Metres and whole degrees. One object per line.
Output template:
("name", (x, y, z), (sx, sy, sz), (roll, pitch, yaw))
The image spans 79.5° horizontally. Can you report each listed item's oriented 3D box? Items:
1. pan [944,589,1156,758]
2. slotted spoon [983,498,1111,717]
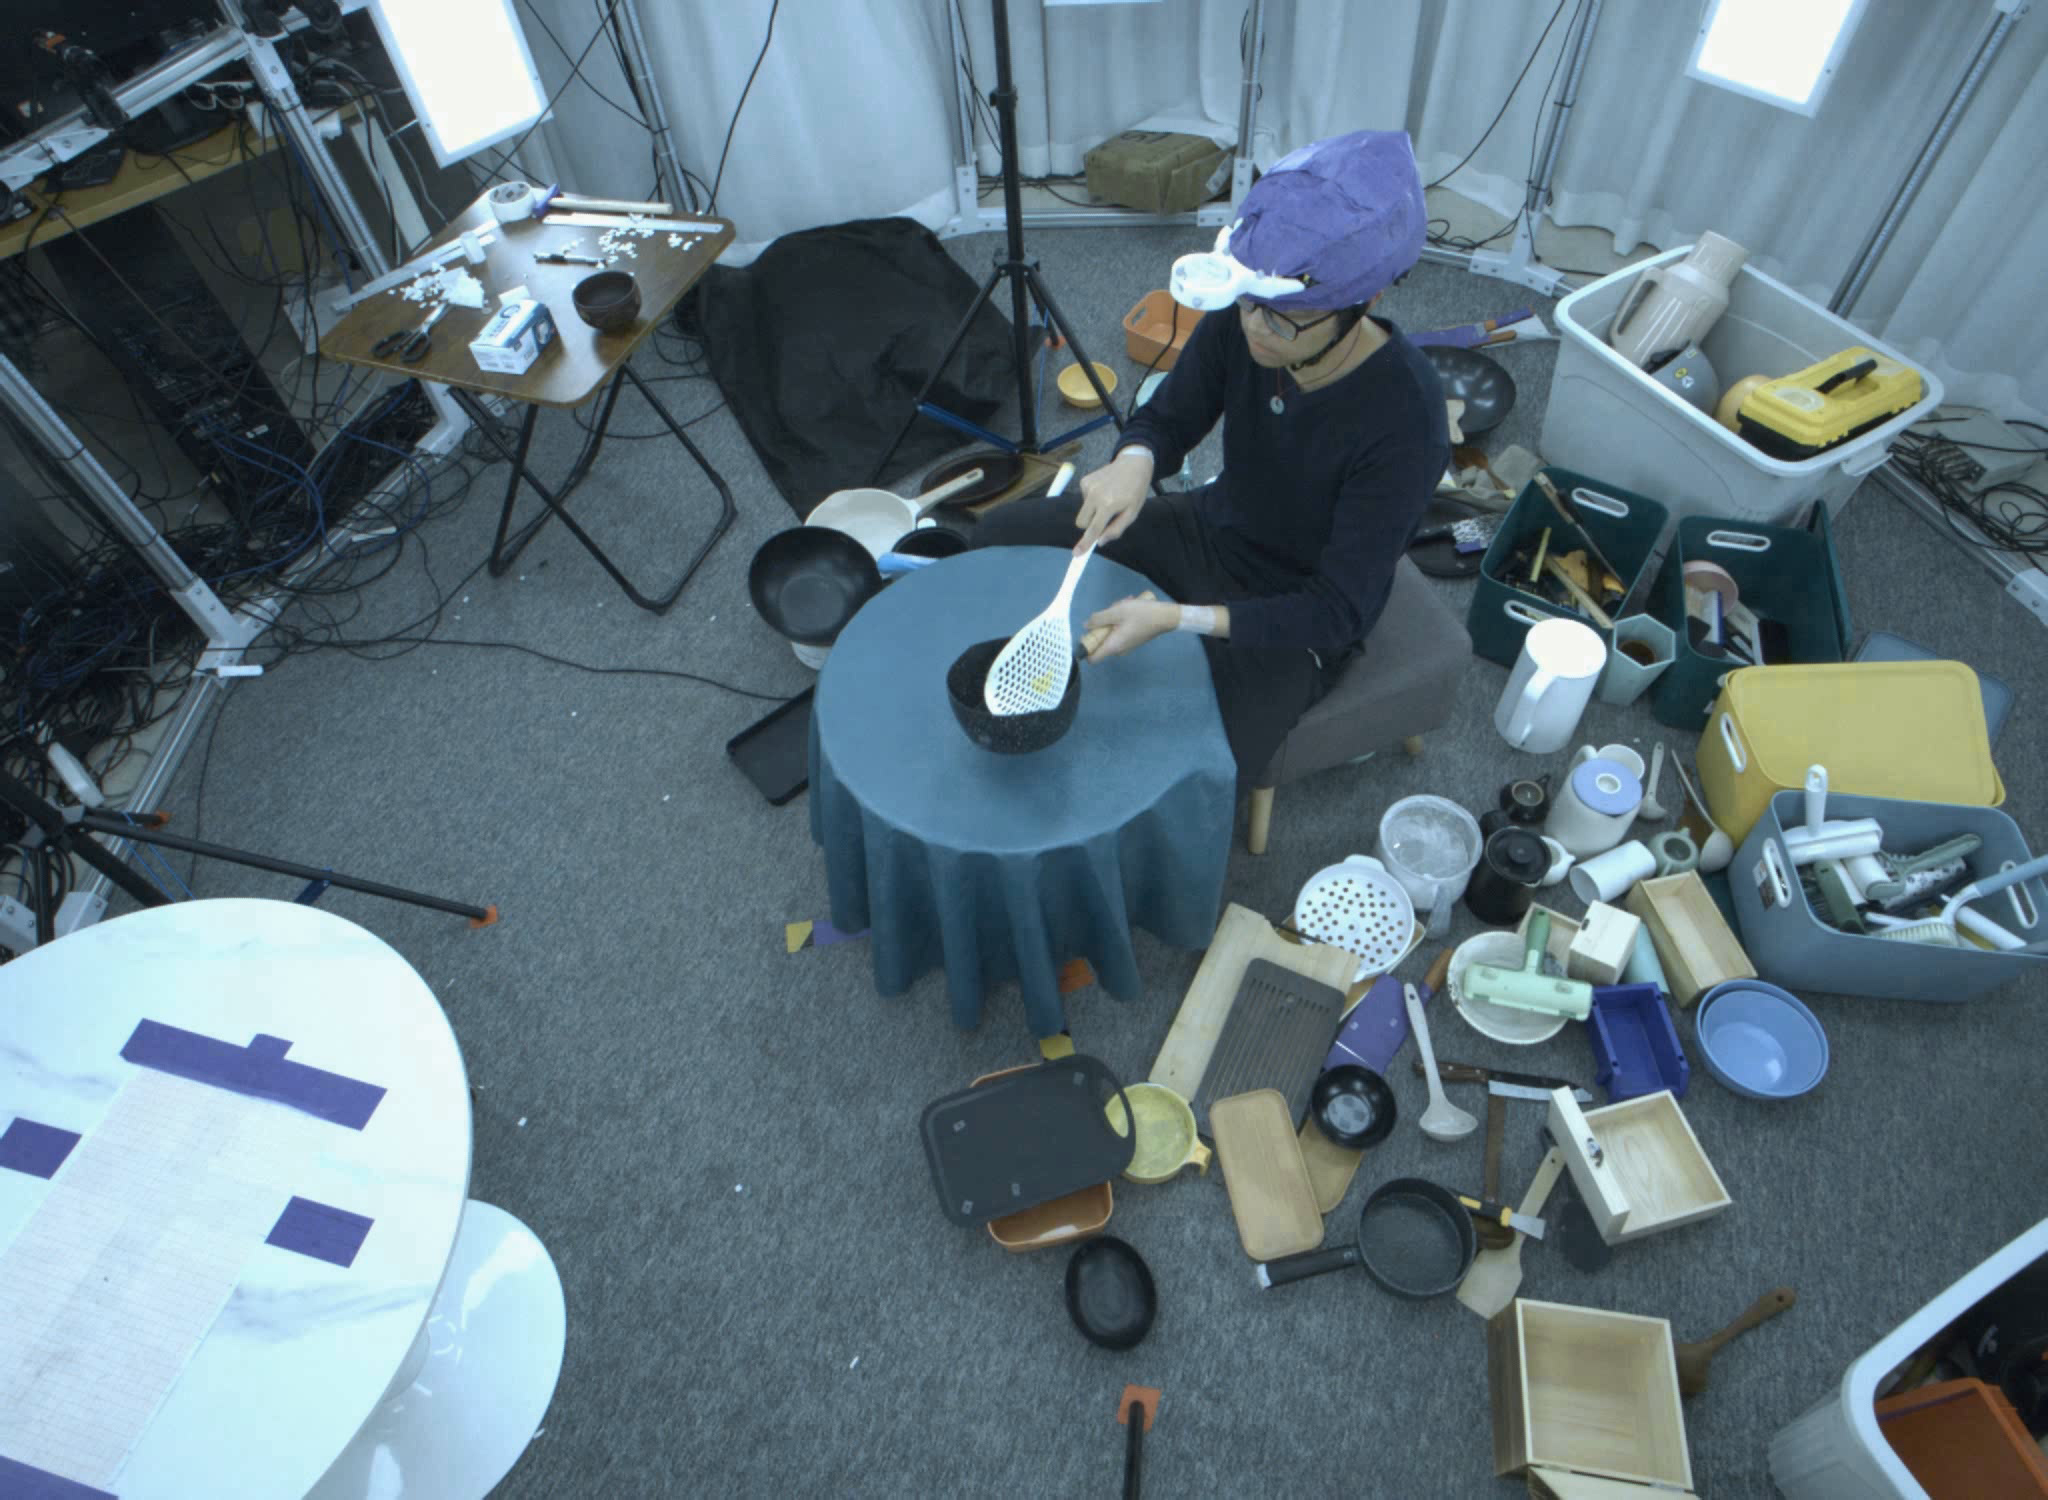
("pan", (0.049, -0.114, 1.725), (0.346, 0.109, 0.202), (-31, 46, -23))
("slotted spoon", (0.049, -0.190, 1.708), (0.134, 0.051, 0.348), (26, 99, 36))
